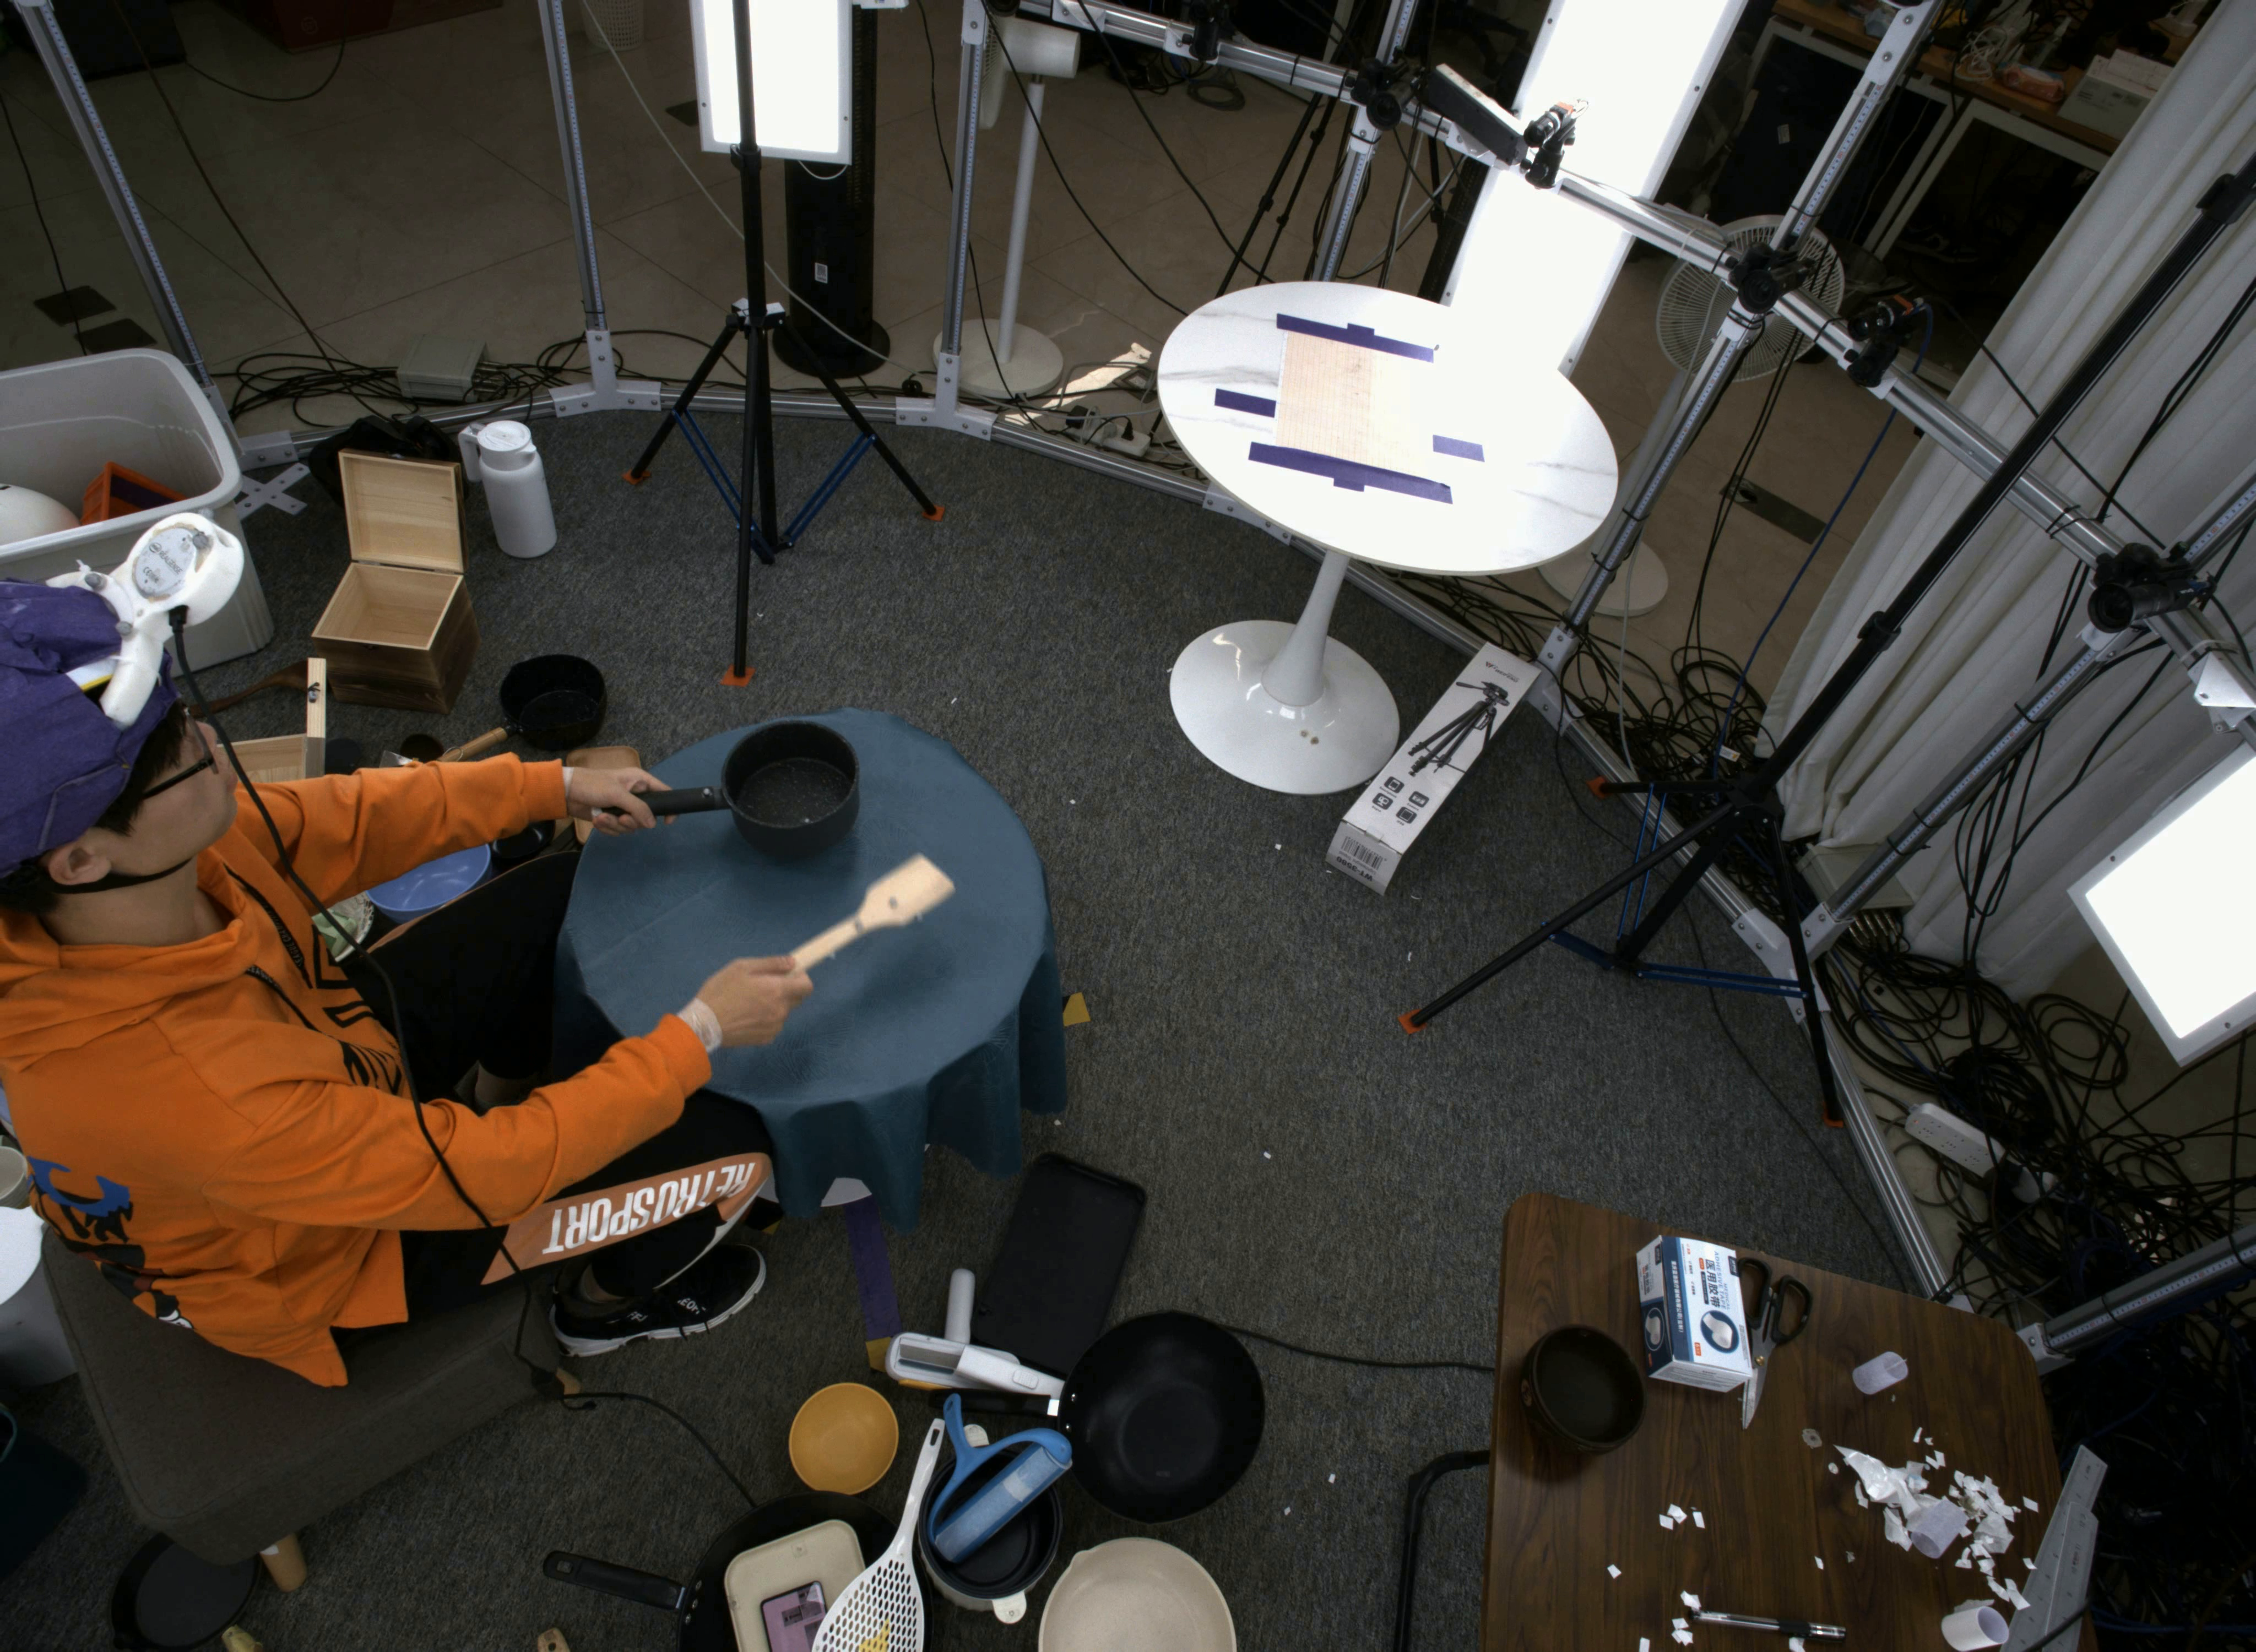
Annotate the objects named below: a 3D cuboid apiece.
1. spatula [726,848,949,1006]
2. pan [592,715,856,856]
[{"bbox_3d":[-0.337,0.118,1.501,0.070,0.011,0.293,40,56,22],"label":"spatula"},{"bbox_3d":[-0.504,-0.037,1.620,0.329,0.088,0.168,-10,57,-17],"label":"pan"}]
